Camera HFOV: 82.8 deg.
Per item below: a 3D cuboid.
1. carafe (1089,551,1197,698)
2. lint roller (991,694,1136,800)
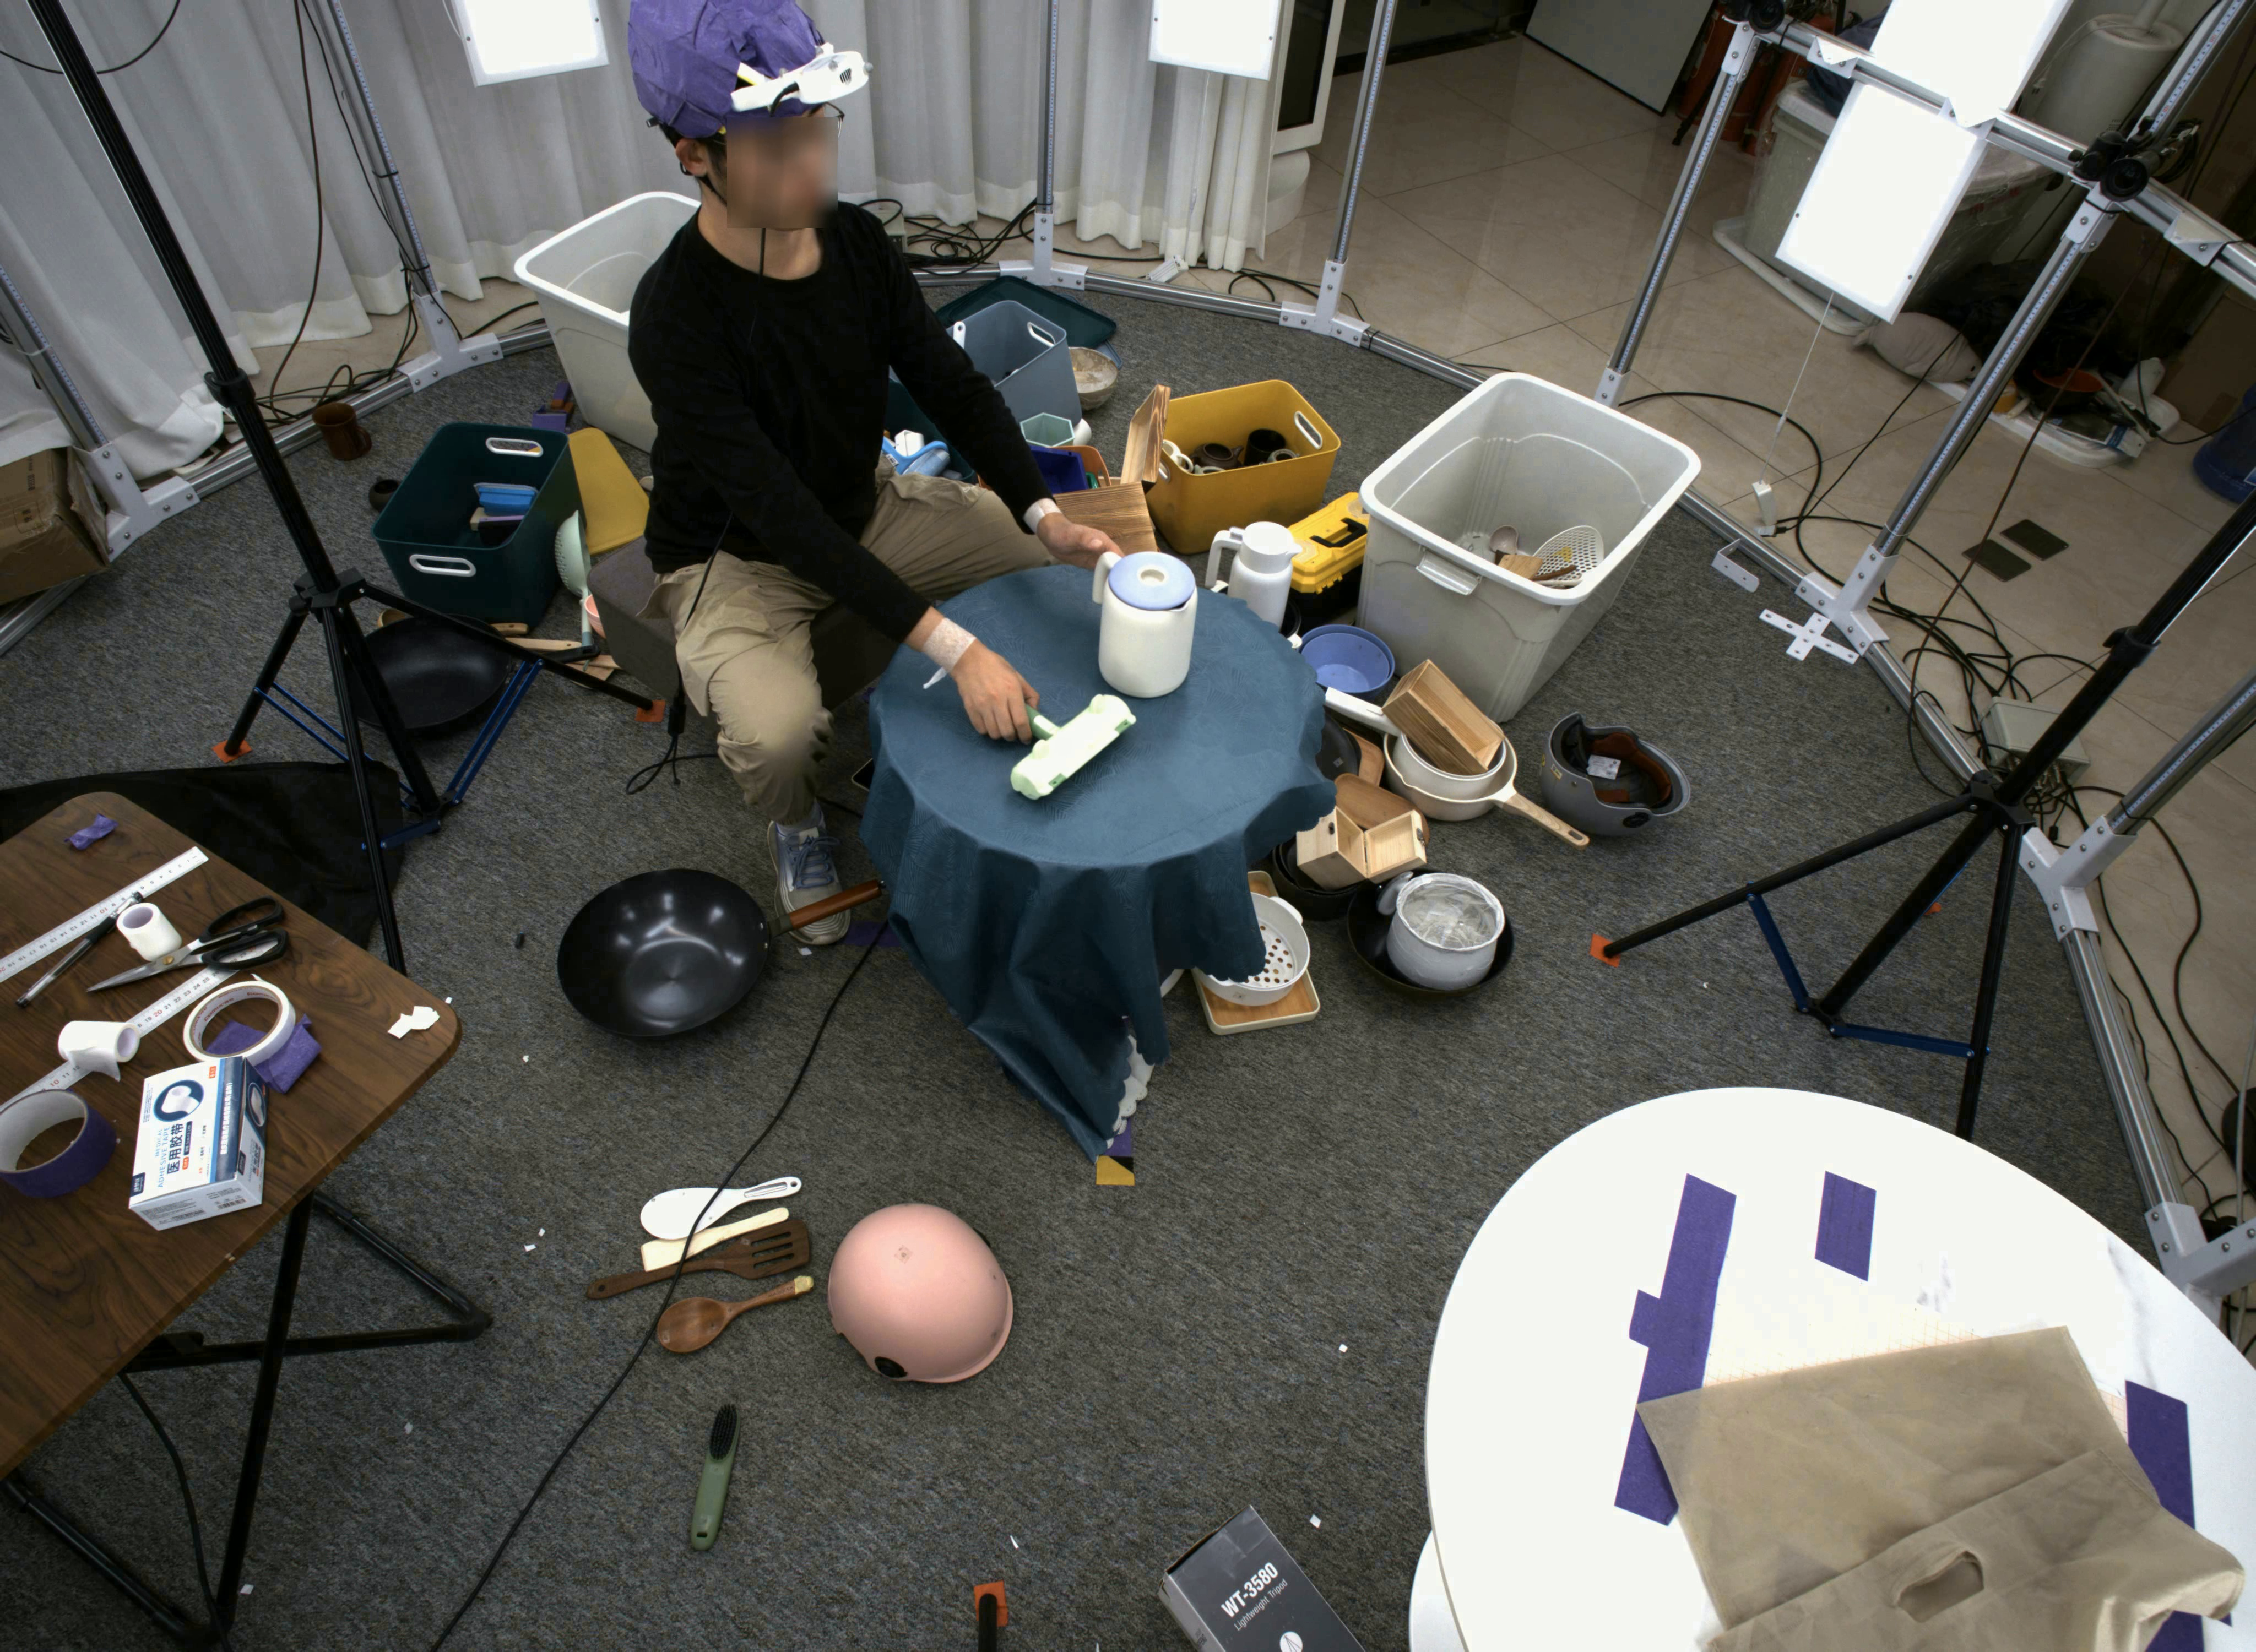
[{"bbox_3d":[0.012,-0.297,1.818,0.133,0.178,0.194,-30,56,-27],"label":"carafe"},{"bbox_3d":[-0.116,-0.142,1.735,0.185,0.080,0.201,36,55,20],"label":"lint roller"}]
